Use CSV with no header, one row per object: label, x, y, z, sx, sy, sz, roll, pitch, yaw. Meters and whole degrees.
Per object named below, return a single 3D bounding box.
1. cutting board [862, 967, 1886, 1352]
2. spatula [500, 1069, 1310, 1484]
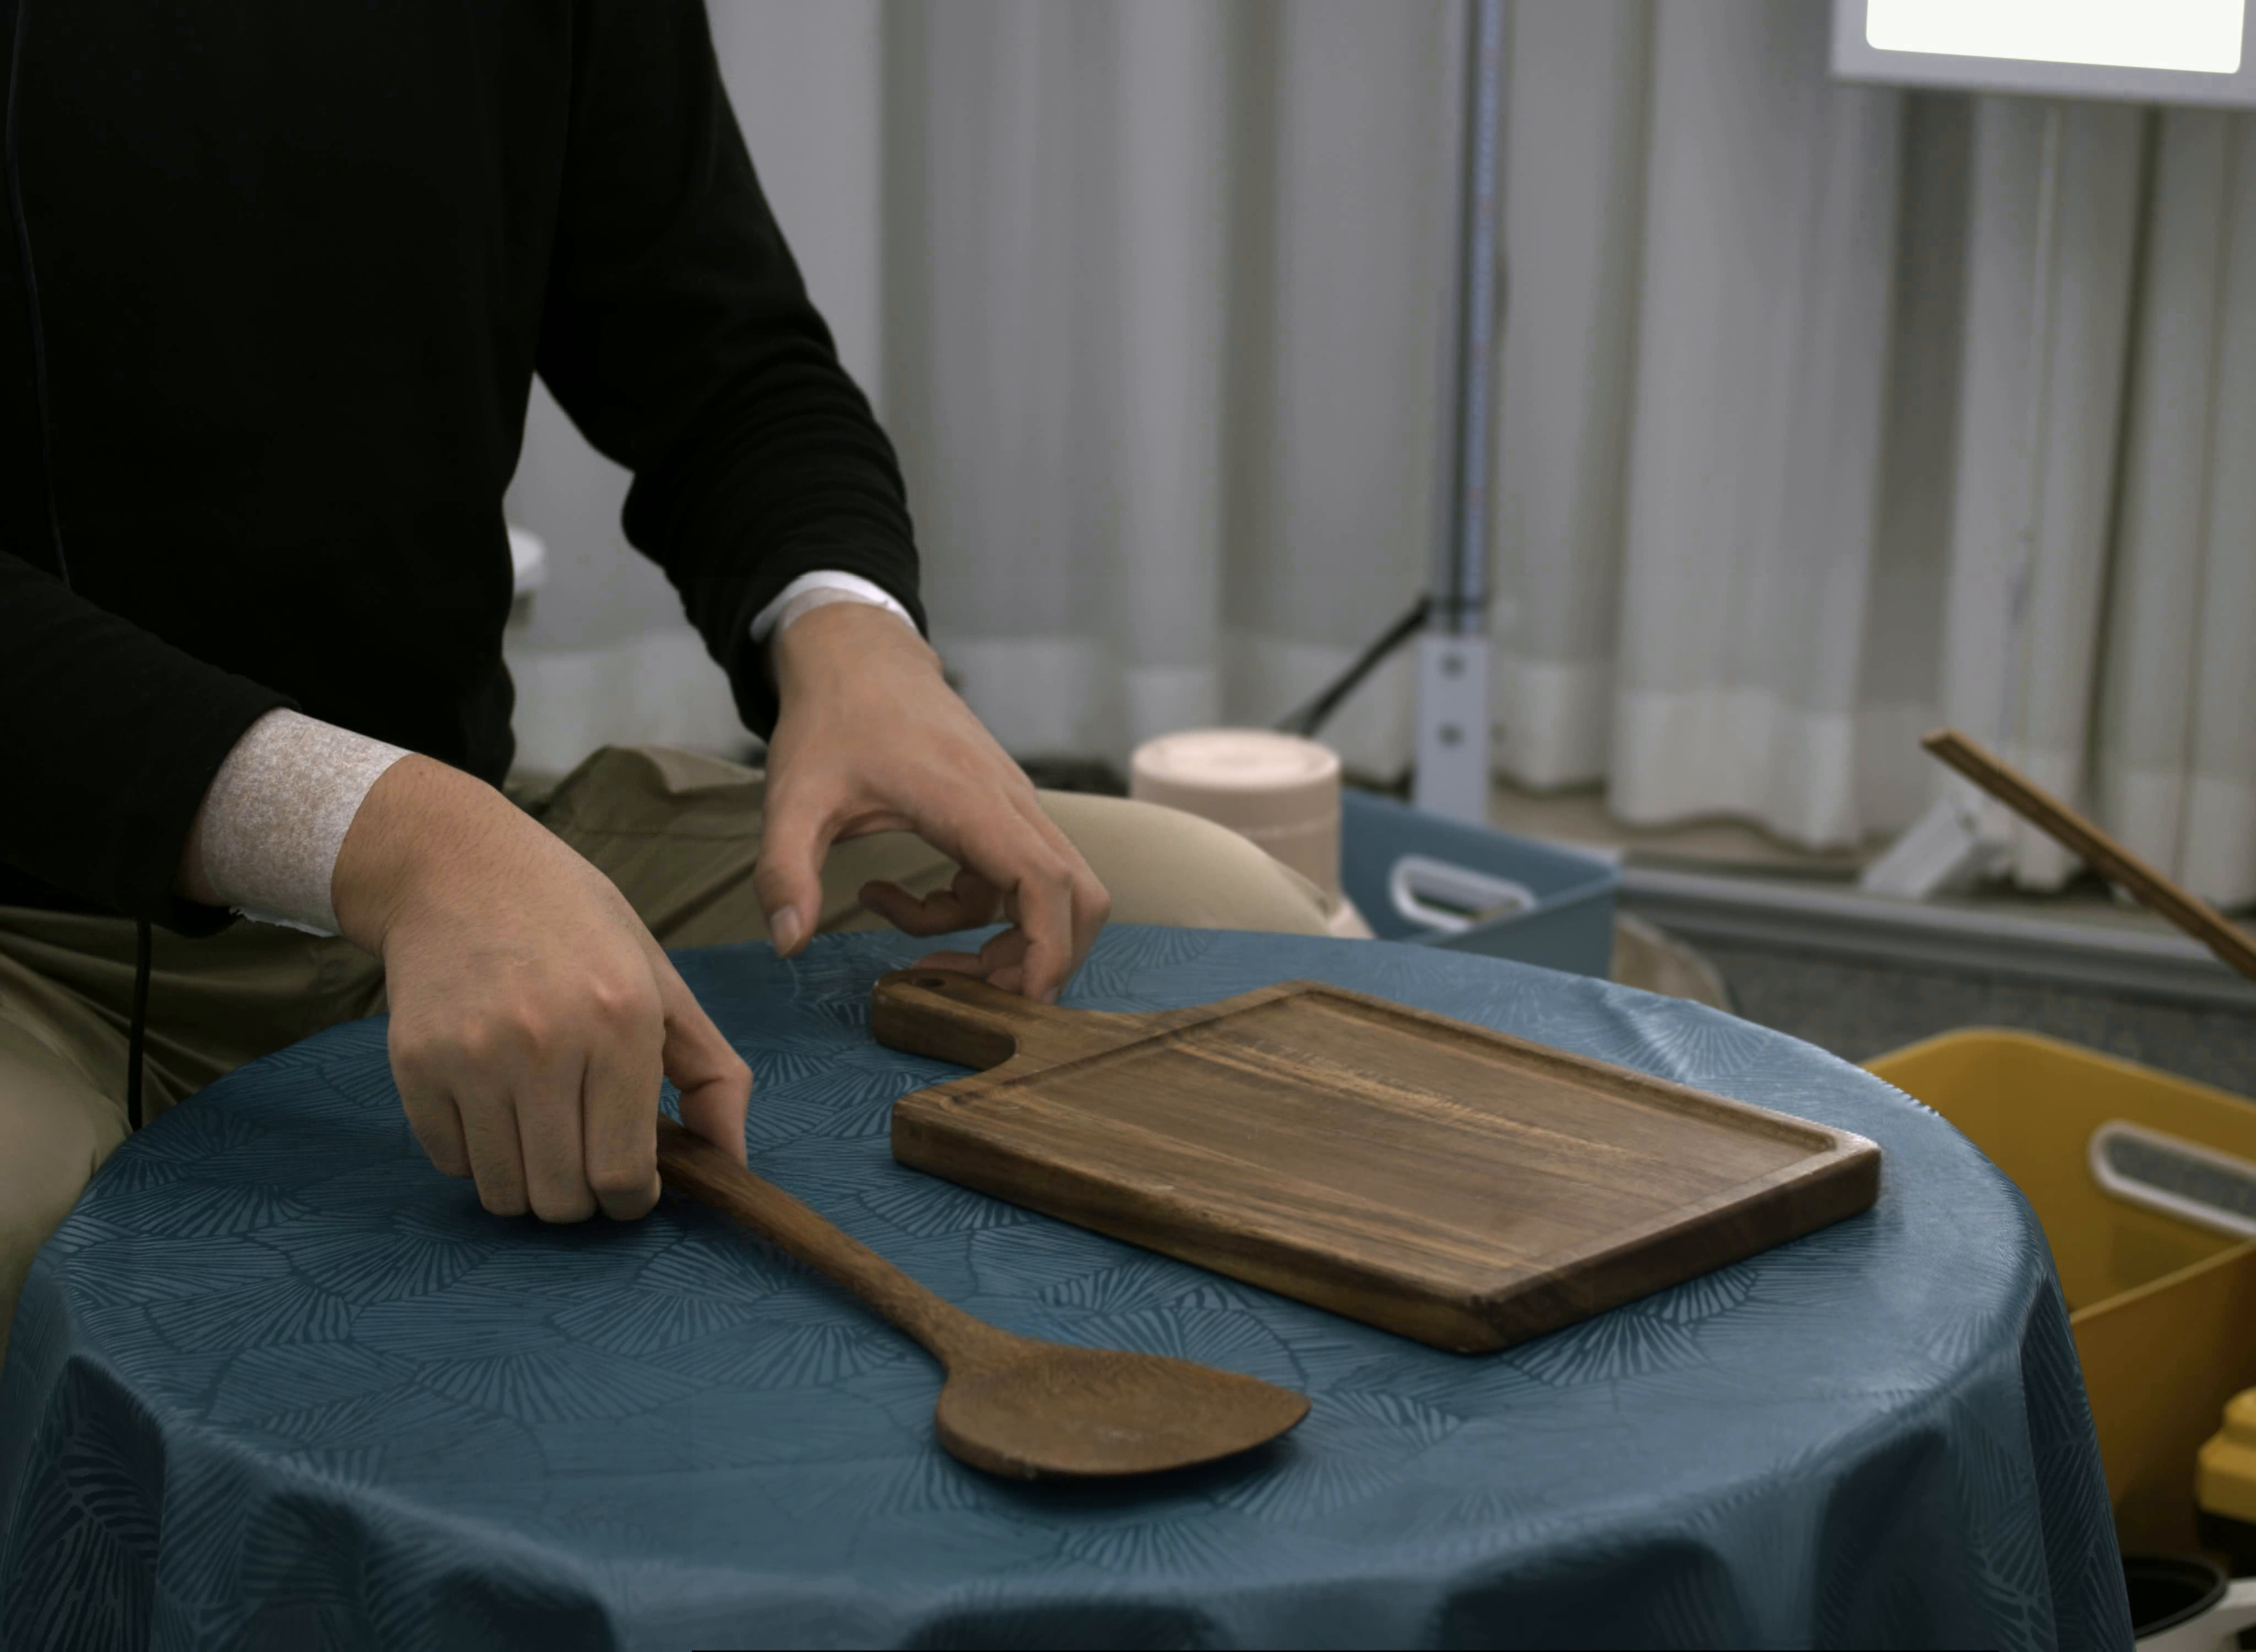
cutting board,0.044,0.090,1.661,0.347,0.023,0.202,15,20,42
spatula,-0.088,0.125,1.536,0.096,0.016,0.381,-9,19,-33
